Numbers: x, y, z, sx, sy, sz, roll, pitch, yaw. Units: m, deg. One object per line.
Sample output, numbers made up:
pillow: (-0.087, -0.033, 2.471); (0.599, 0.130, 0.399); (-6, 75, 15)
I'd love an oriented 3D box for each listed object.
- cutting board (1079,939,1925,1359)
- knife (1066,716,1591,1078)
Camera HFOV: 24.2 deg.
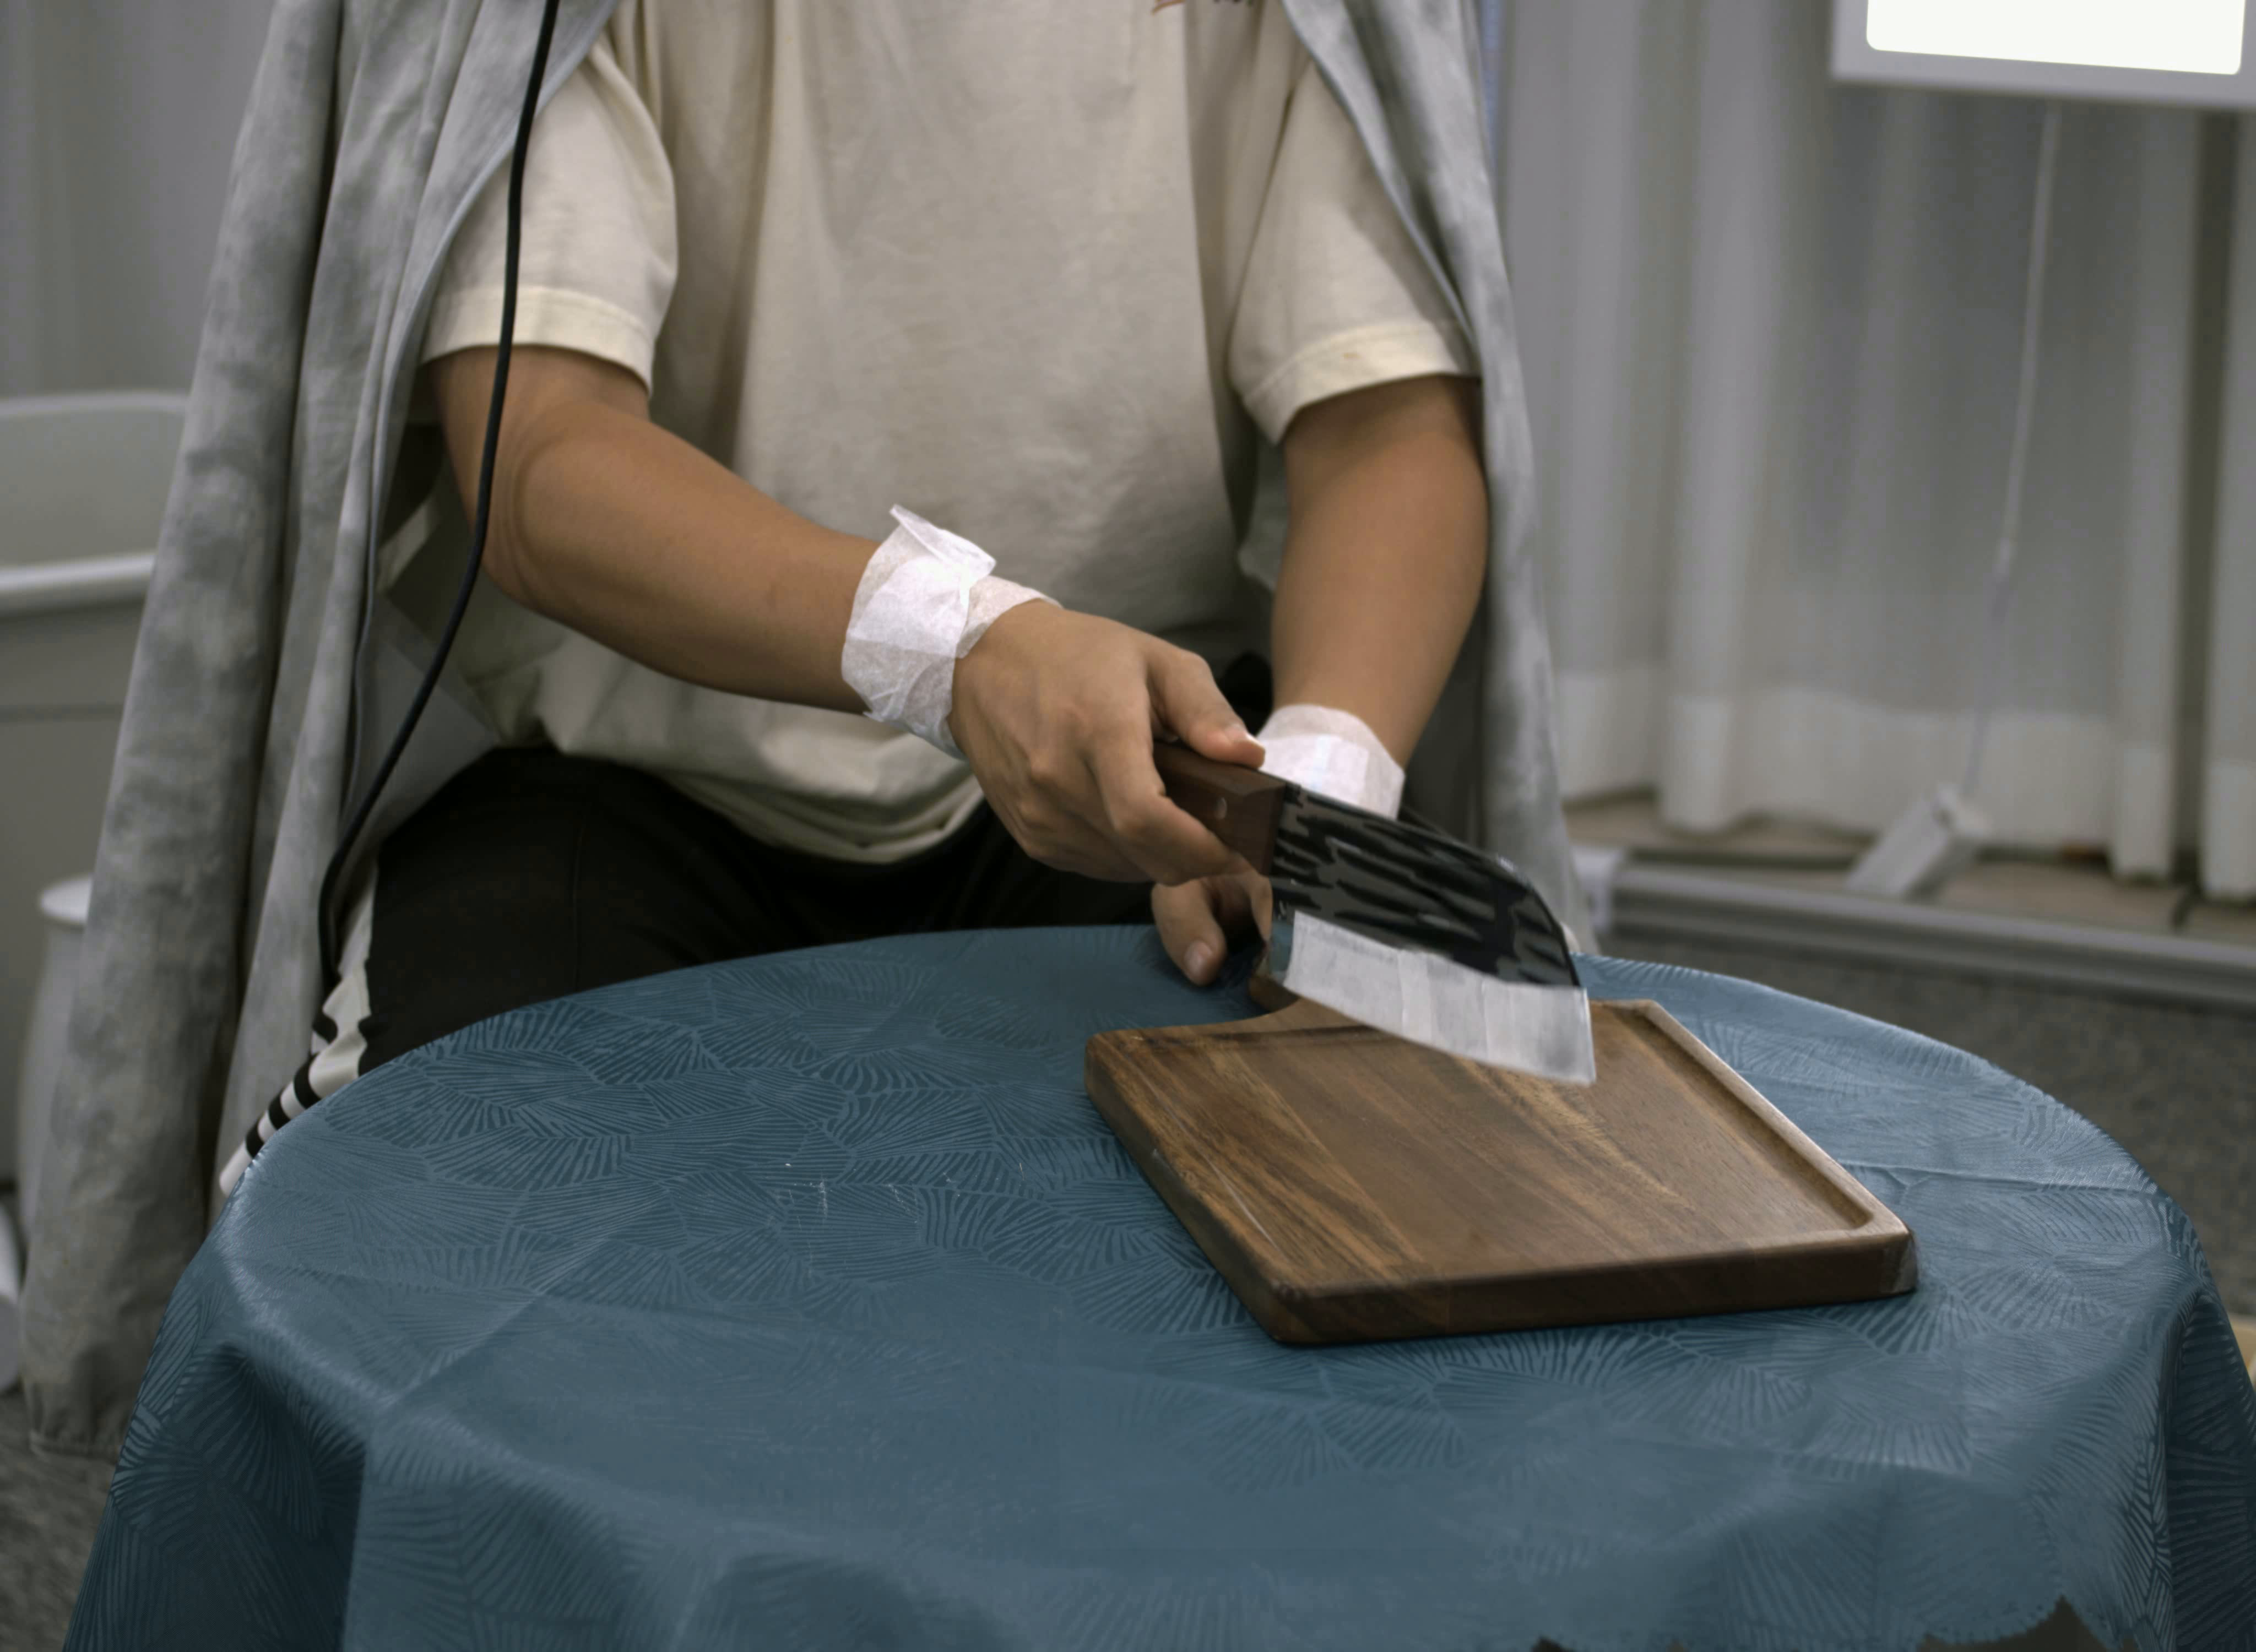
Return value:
cutting board: (0.097, 0.091, 1.676); (0.201, 0.023, 0.349); (-5, 16, -14)
knife: (0.062, 0.020, 1.686); (0.024, 0.068, 0.295); (-3, 14, -32)
